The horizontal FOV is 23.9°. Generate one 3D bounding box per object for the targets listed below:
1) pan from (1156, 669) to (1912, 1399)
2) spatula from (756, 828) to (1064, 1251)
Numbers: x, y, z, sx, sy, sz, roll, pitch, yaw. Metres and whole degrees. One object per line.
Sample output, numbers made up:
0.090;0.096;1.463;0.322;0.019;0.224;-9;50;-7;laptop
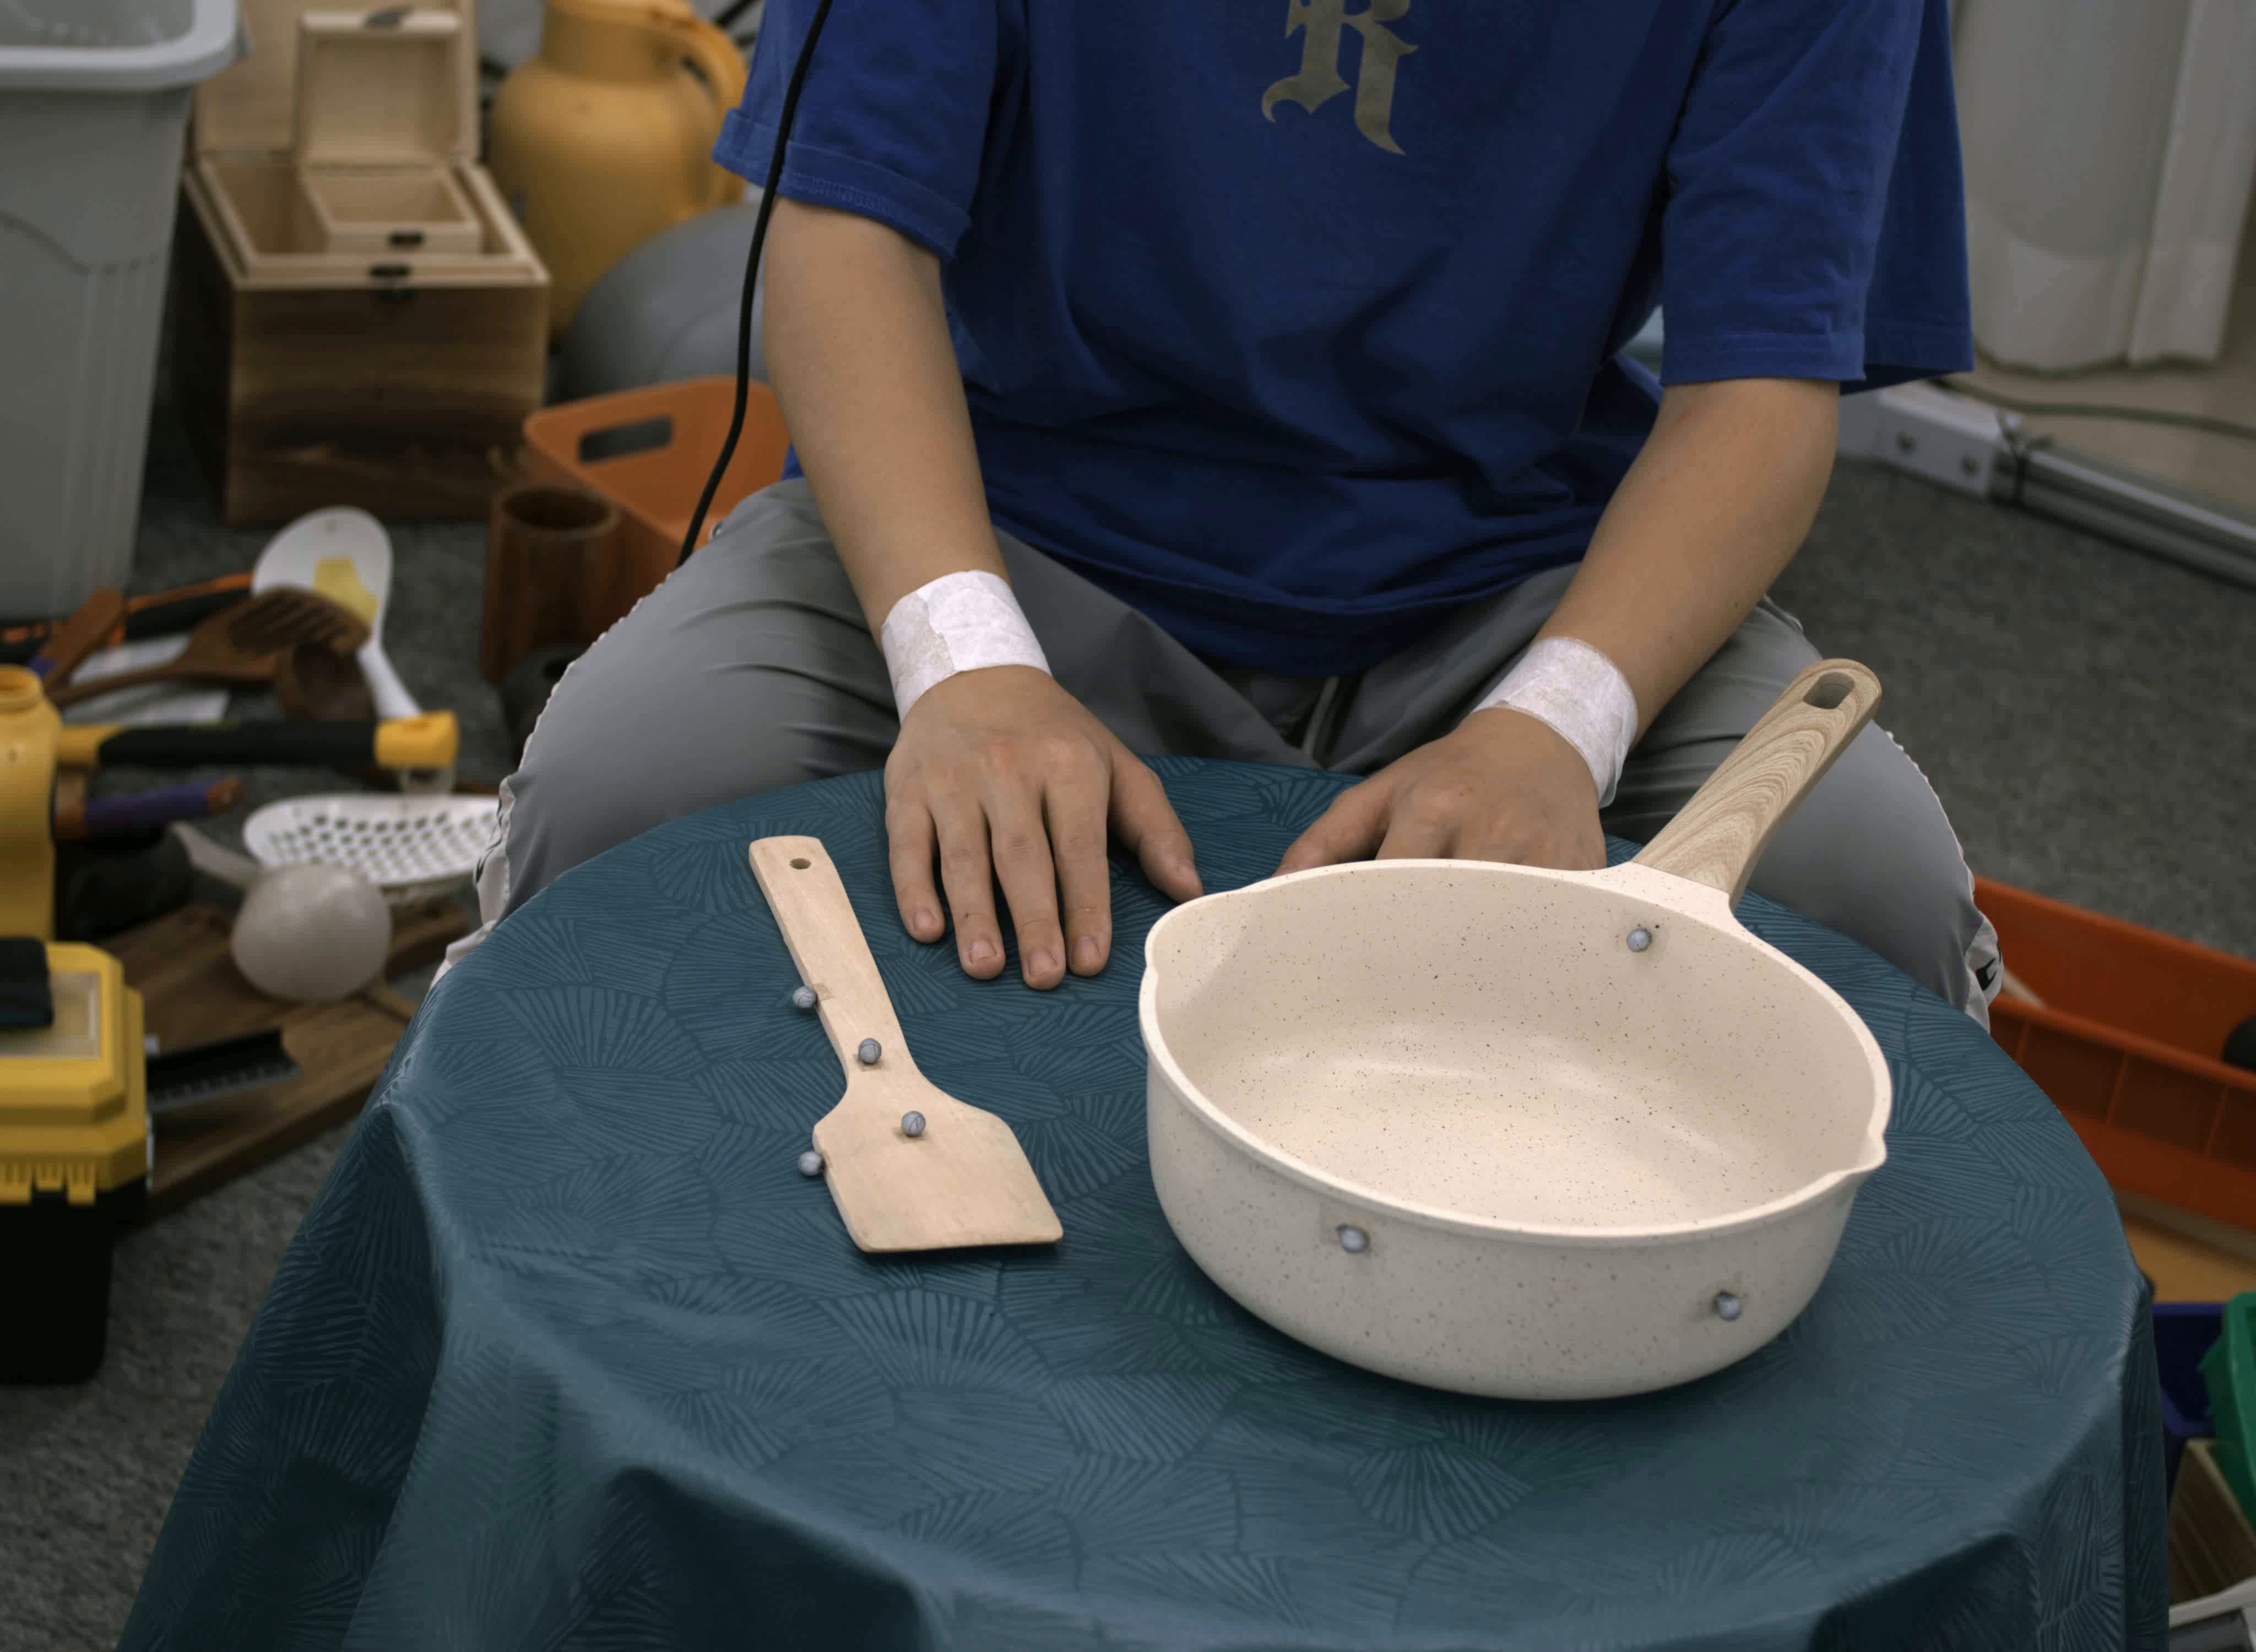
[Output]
0.171;0.065;1.847;0.264;0.101;0.434;16;28;21;pan
-0.092;0.072;1.875;0.072;0.010;0.295;-3;29;-15;spatula
